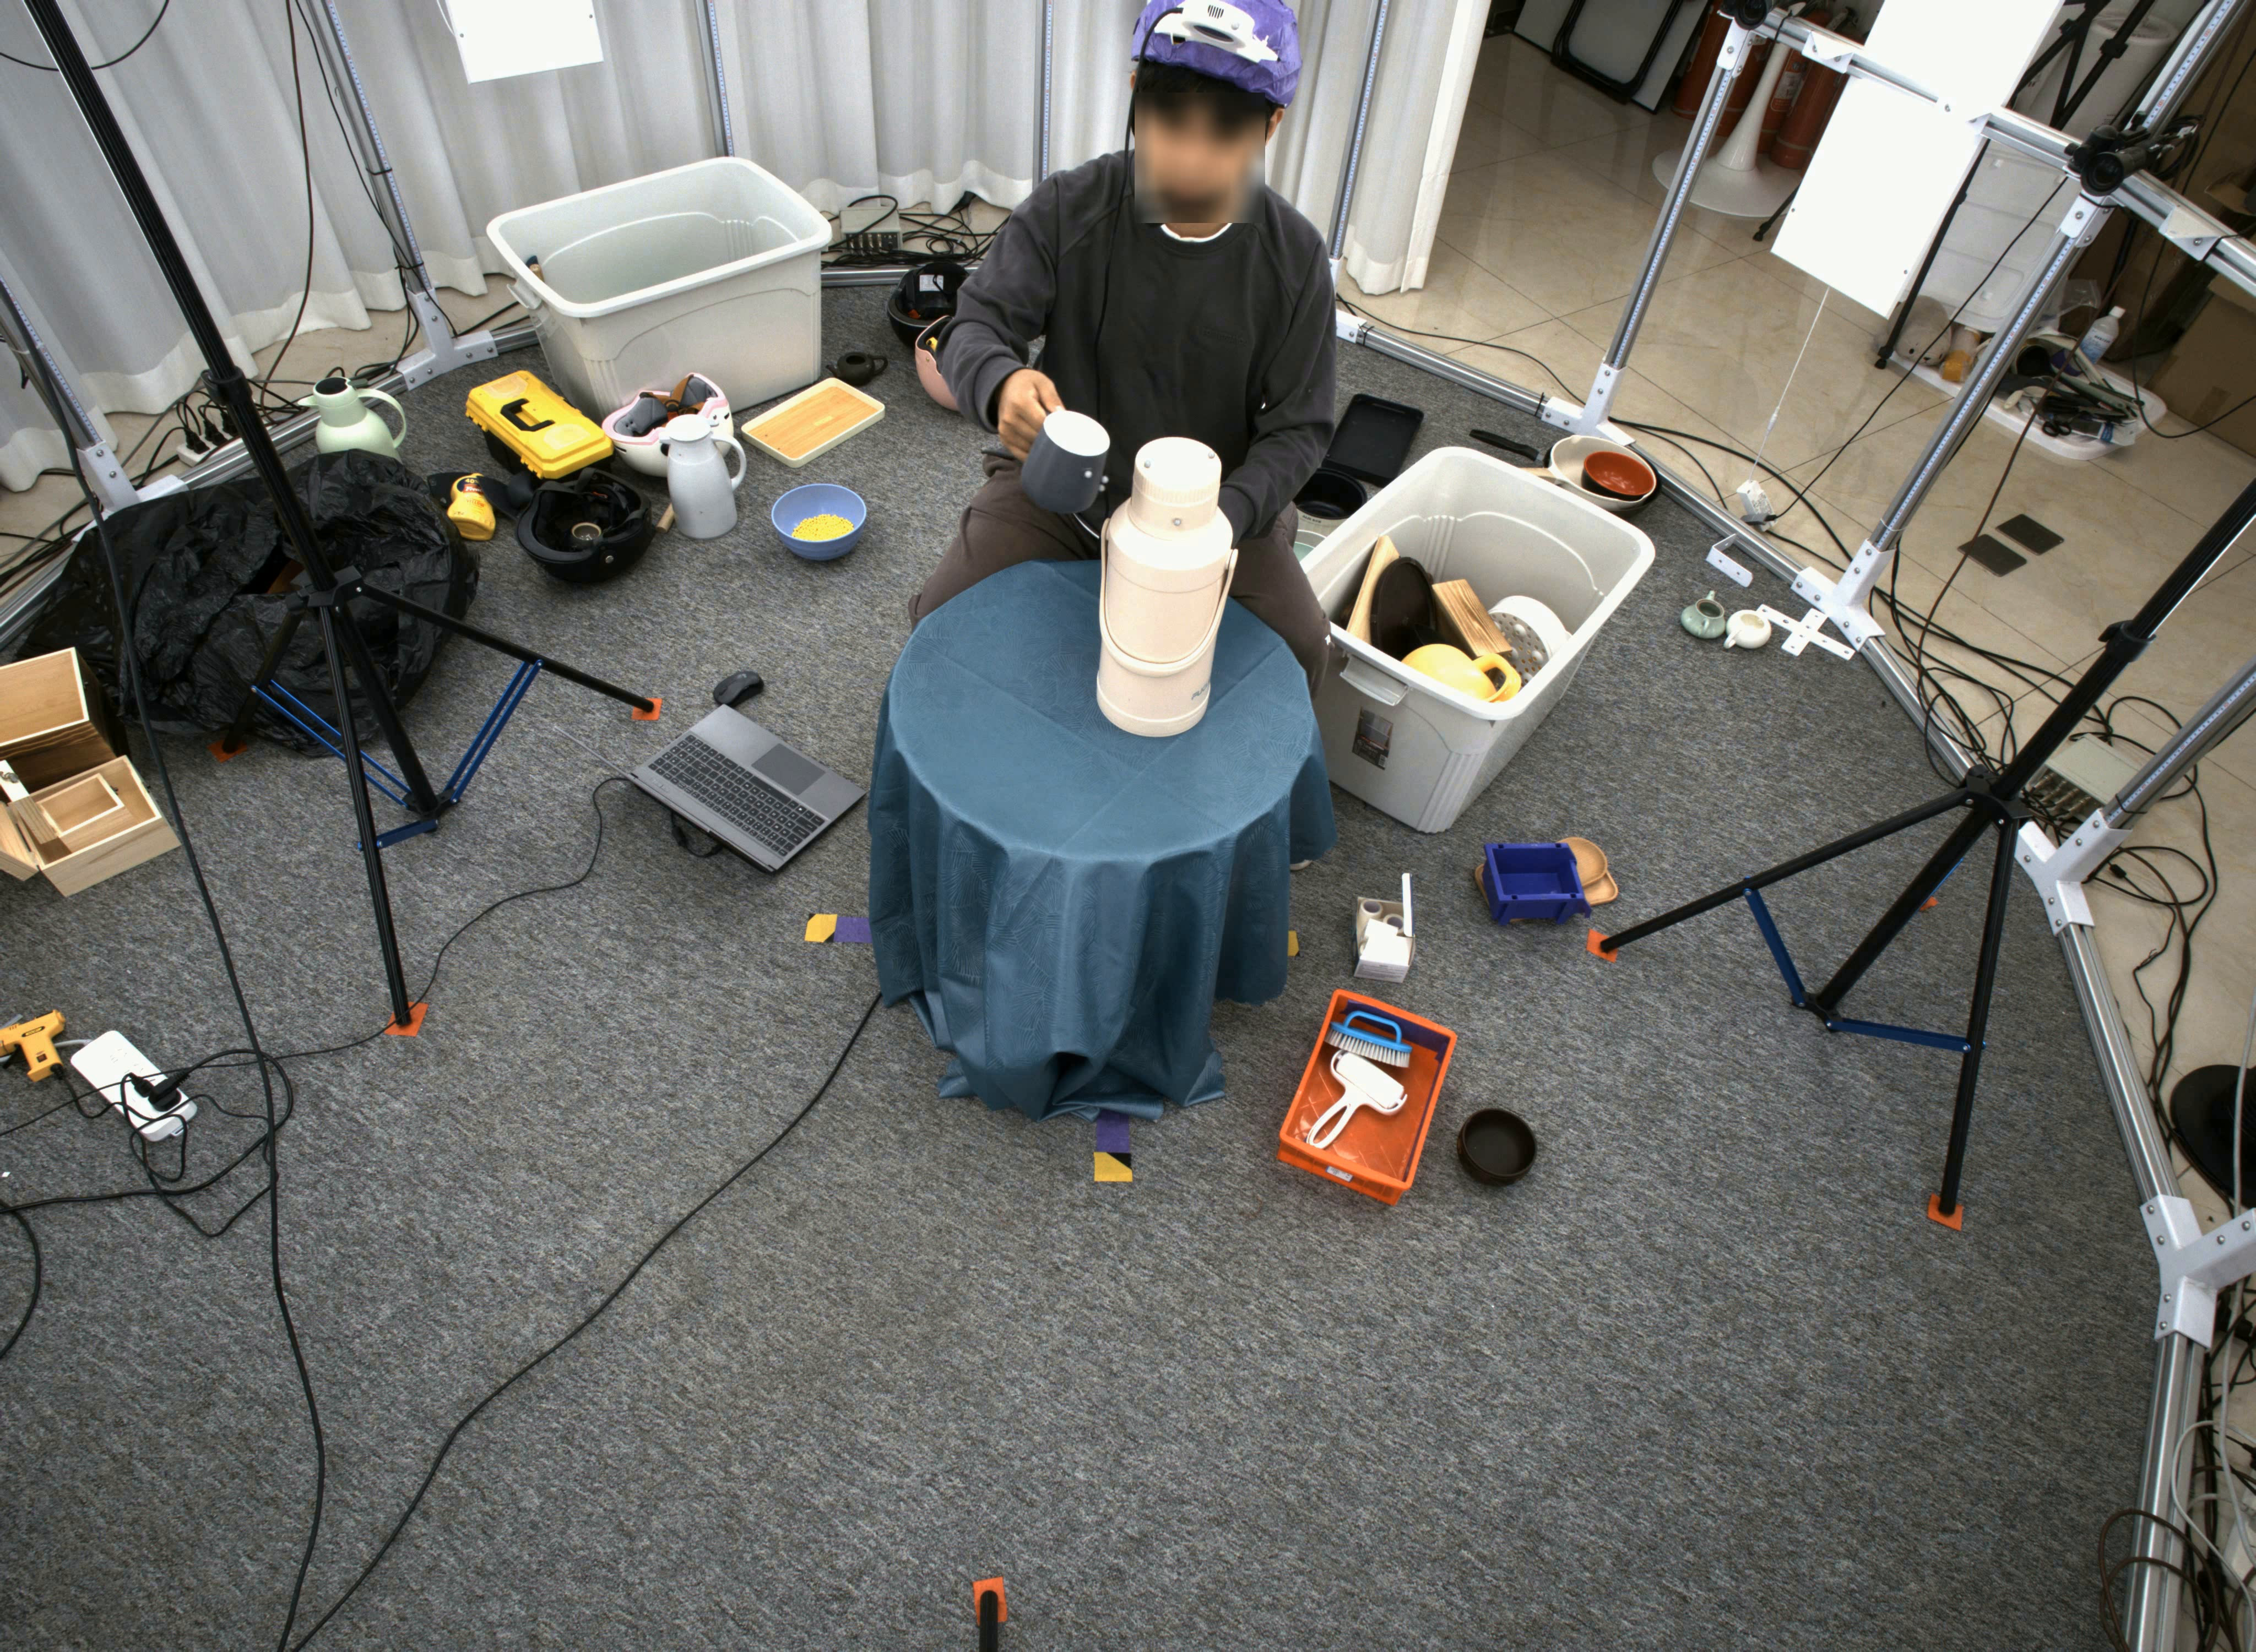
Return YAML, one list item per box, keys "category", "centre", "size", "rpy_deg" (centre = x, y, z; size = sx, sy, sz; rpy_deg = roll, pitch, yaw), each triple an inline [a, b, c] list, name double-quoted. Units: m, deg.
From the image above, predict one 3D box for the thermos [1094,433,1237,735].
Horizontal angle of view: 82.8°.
- category: "thermos"
  centre: [0.051, -0.321, 1.692]
  size: [0.176, 0.396, 0.211]
  rpy_deg: [15, 50, 8]

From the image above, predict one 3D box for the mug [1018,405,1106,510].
- category: "mug"
  centre: [-0.081, -0.438, 1.509]
  size: [0.093, 0.088, 0.126]
  rpy_deg: [-10, 56, -30]
